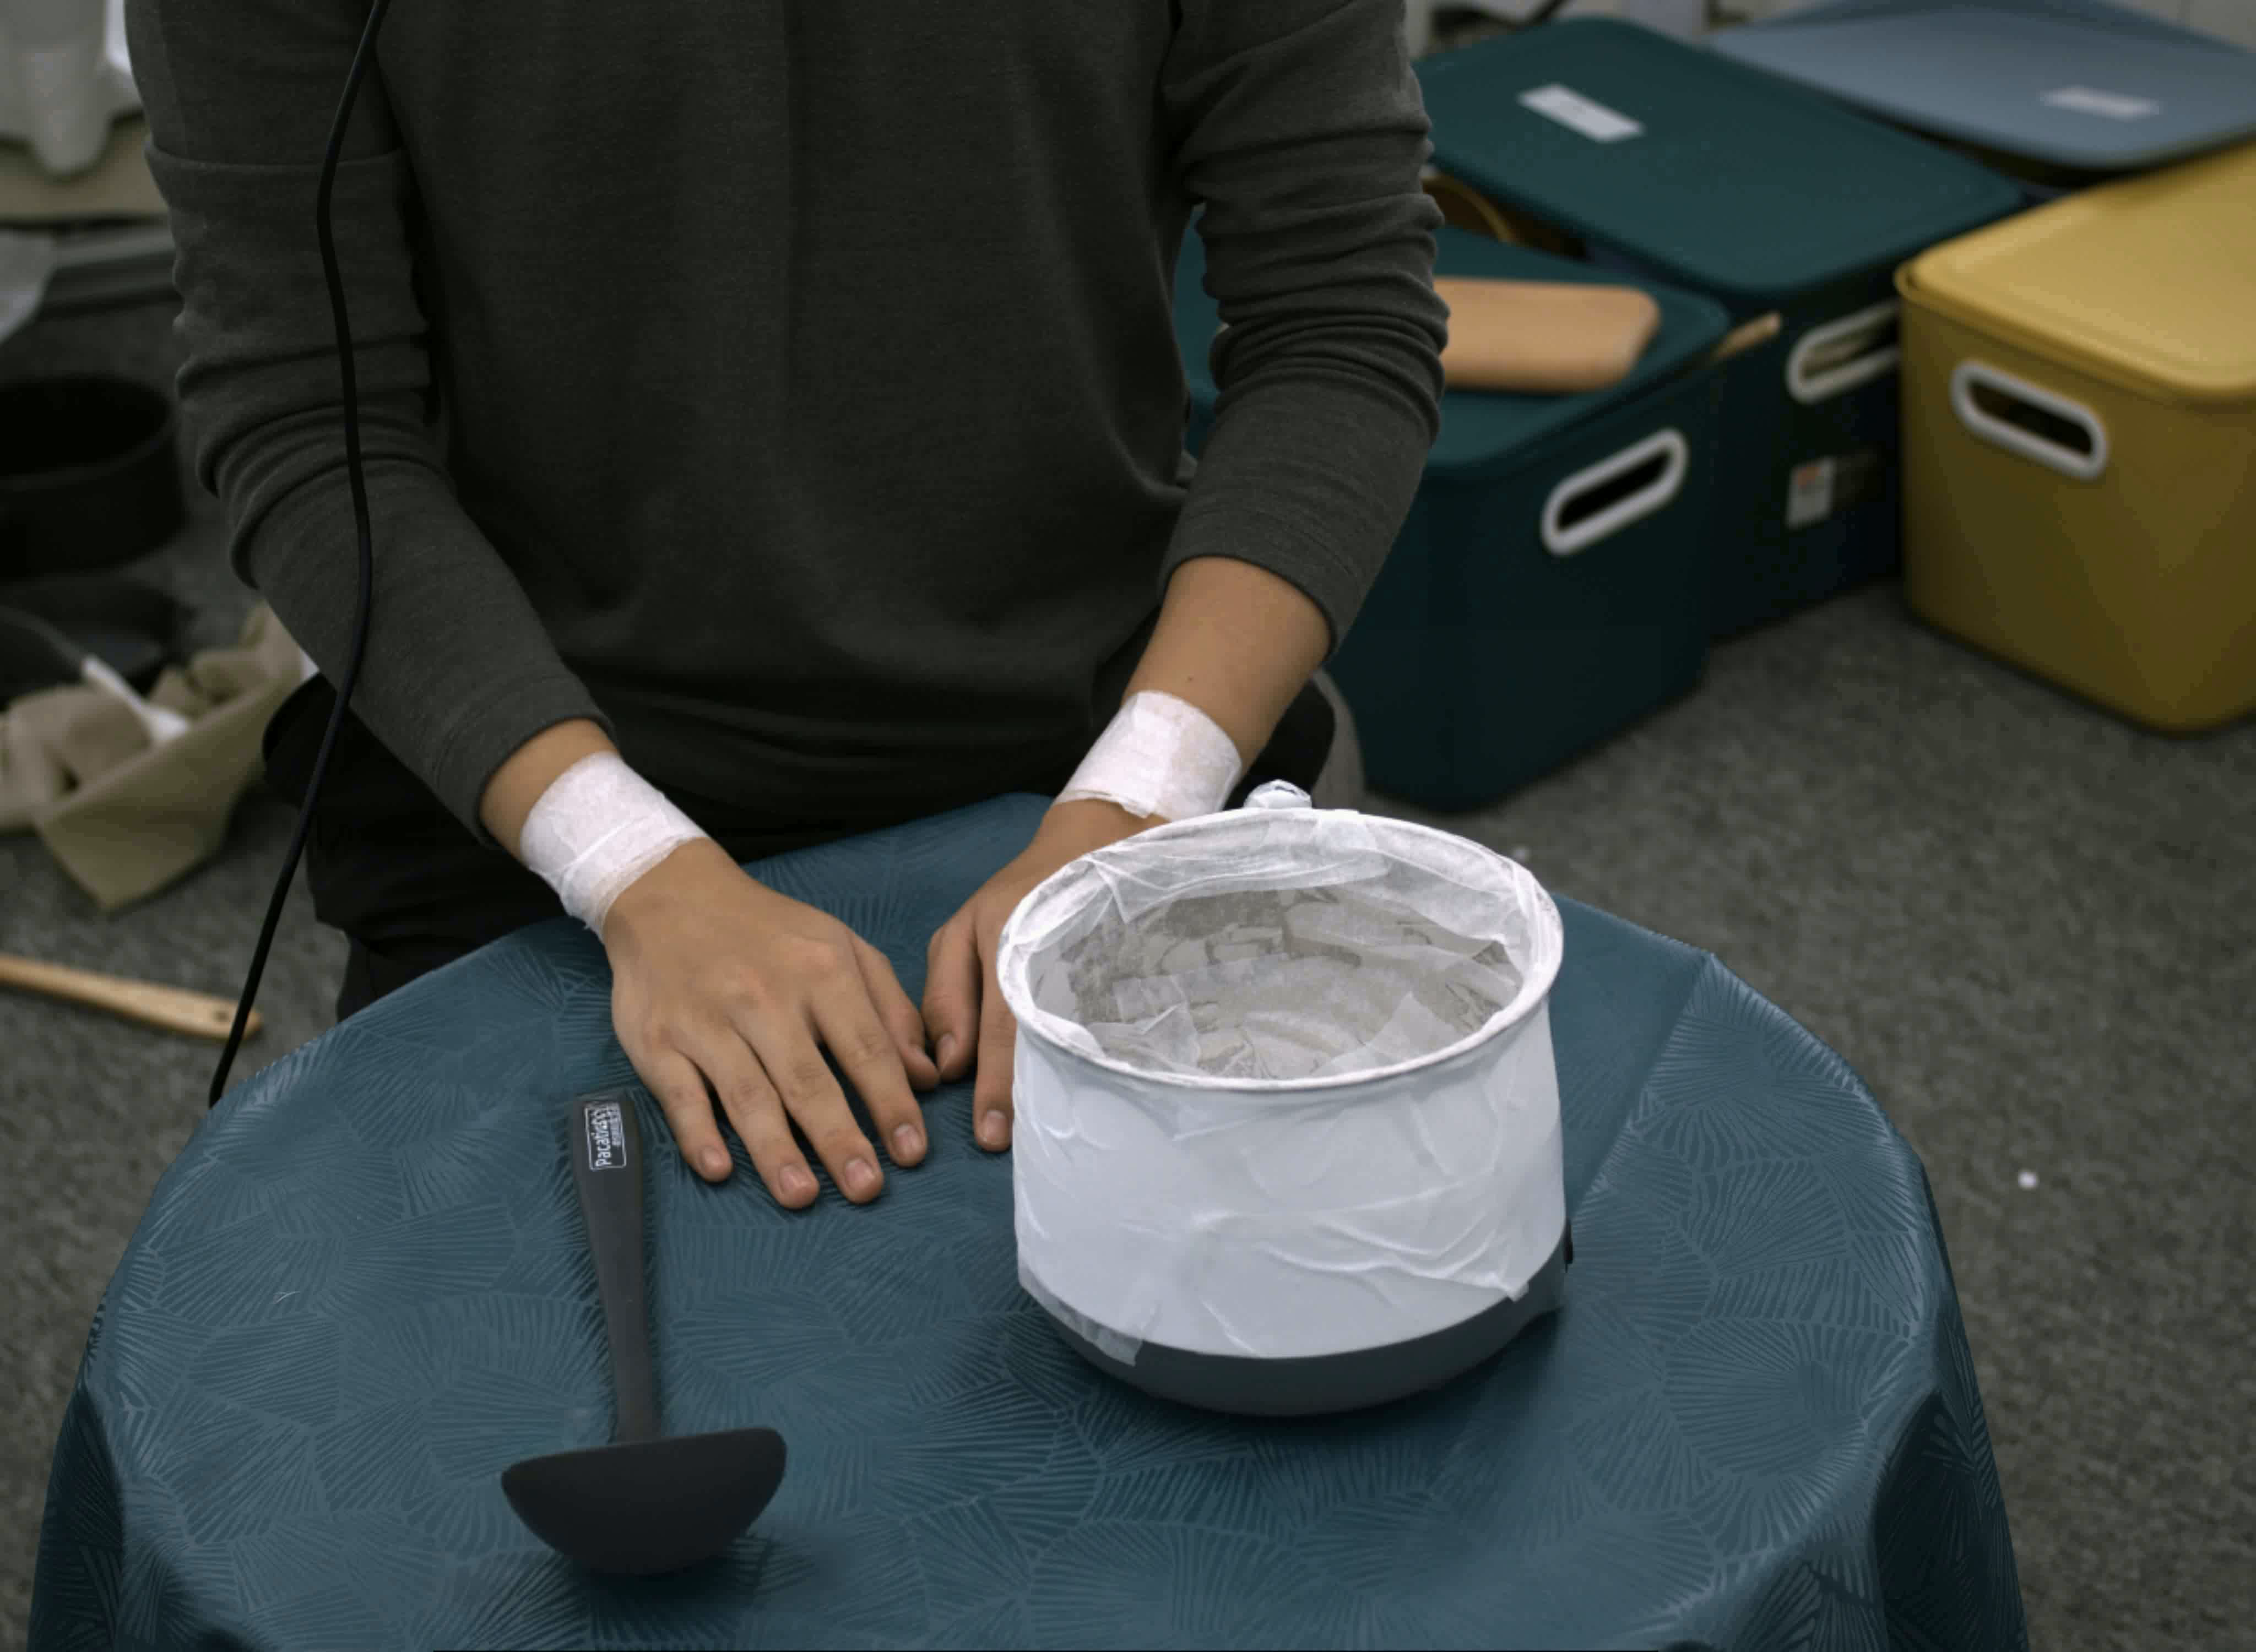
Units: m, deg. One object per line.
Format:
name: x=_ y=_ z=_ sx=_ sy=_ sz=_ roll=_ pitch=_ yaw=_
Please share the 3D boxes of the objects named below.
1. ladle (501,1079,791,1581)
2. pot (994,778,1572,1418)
ladle: x=-0.160 y=0.140 z=1.773 sx=0.086 sy=0.063 sz=0.318 roll=-2 pitch=27 yaw=-8
pot: x=0.050 y=0.079 z=1.793 sx=0.178 sy=0.135 sz=0.237 roll=-2 pitch=27 yaw=1
